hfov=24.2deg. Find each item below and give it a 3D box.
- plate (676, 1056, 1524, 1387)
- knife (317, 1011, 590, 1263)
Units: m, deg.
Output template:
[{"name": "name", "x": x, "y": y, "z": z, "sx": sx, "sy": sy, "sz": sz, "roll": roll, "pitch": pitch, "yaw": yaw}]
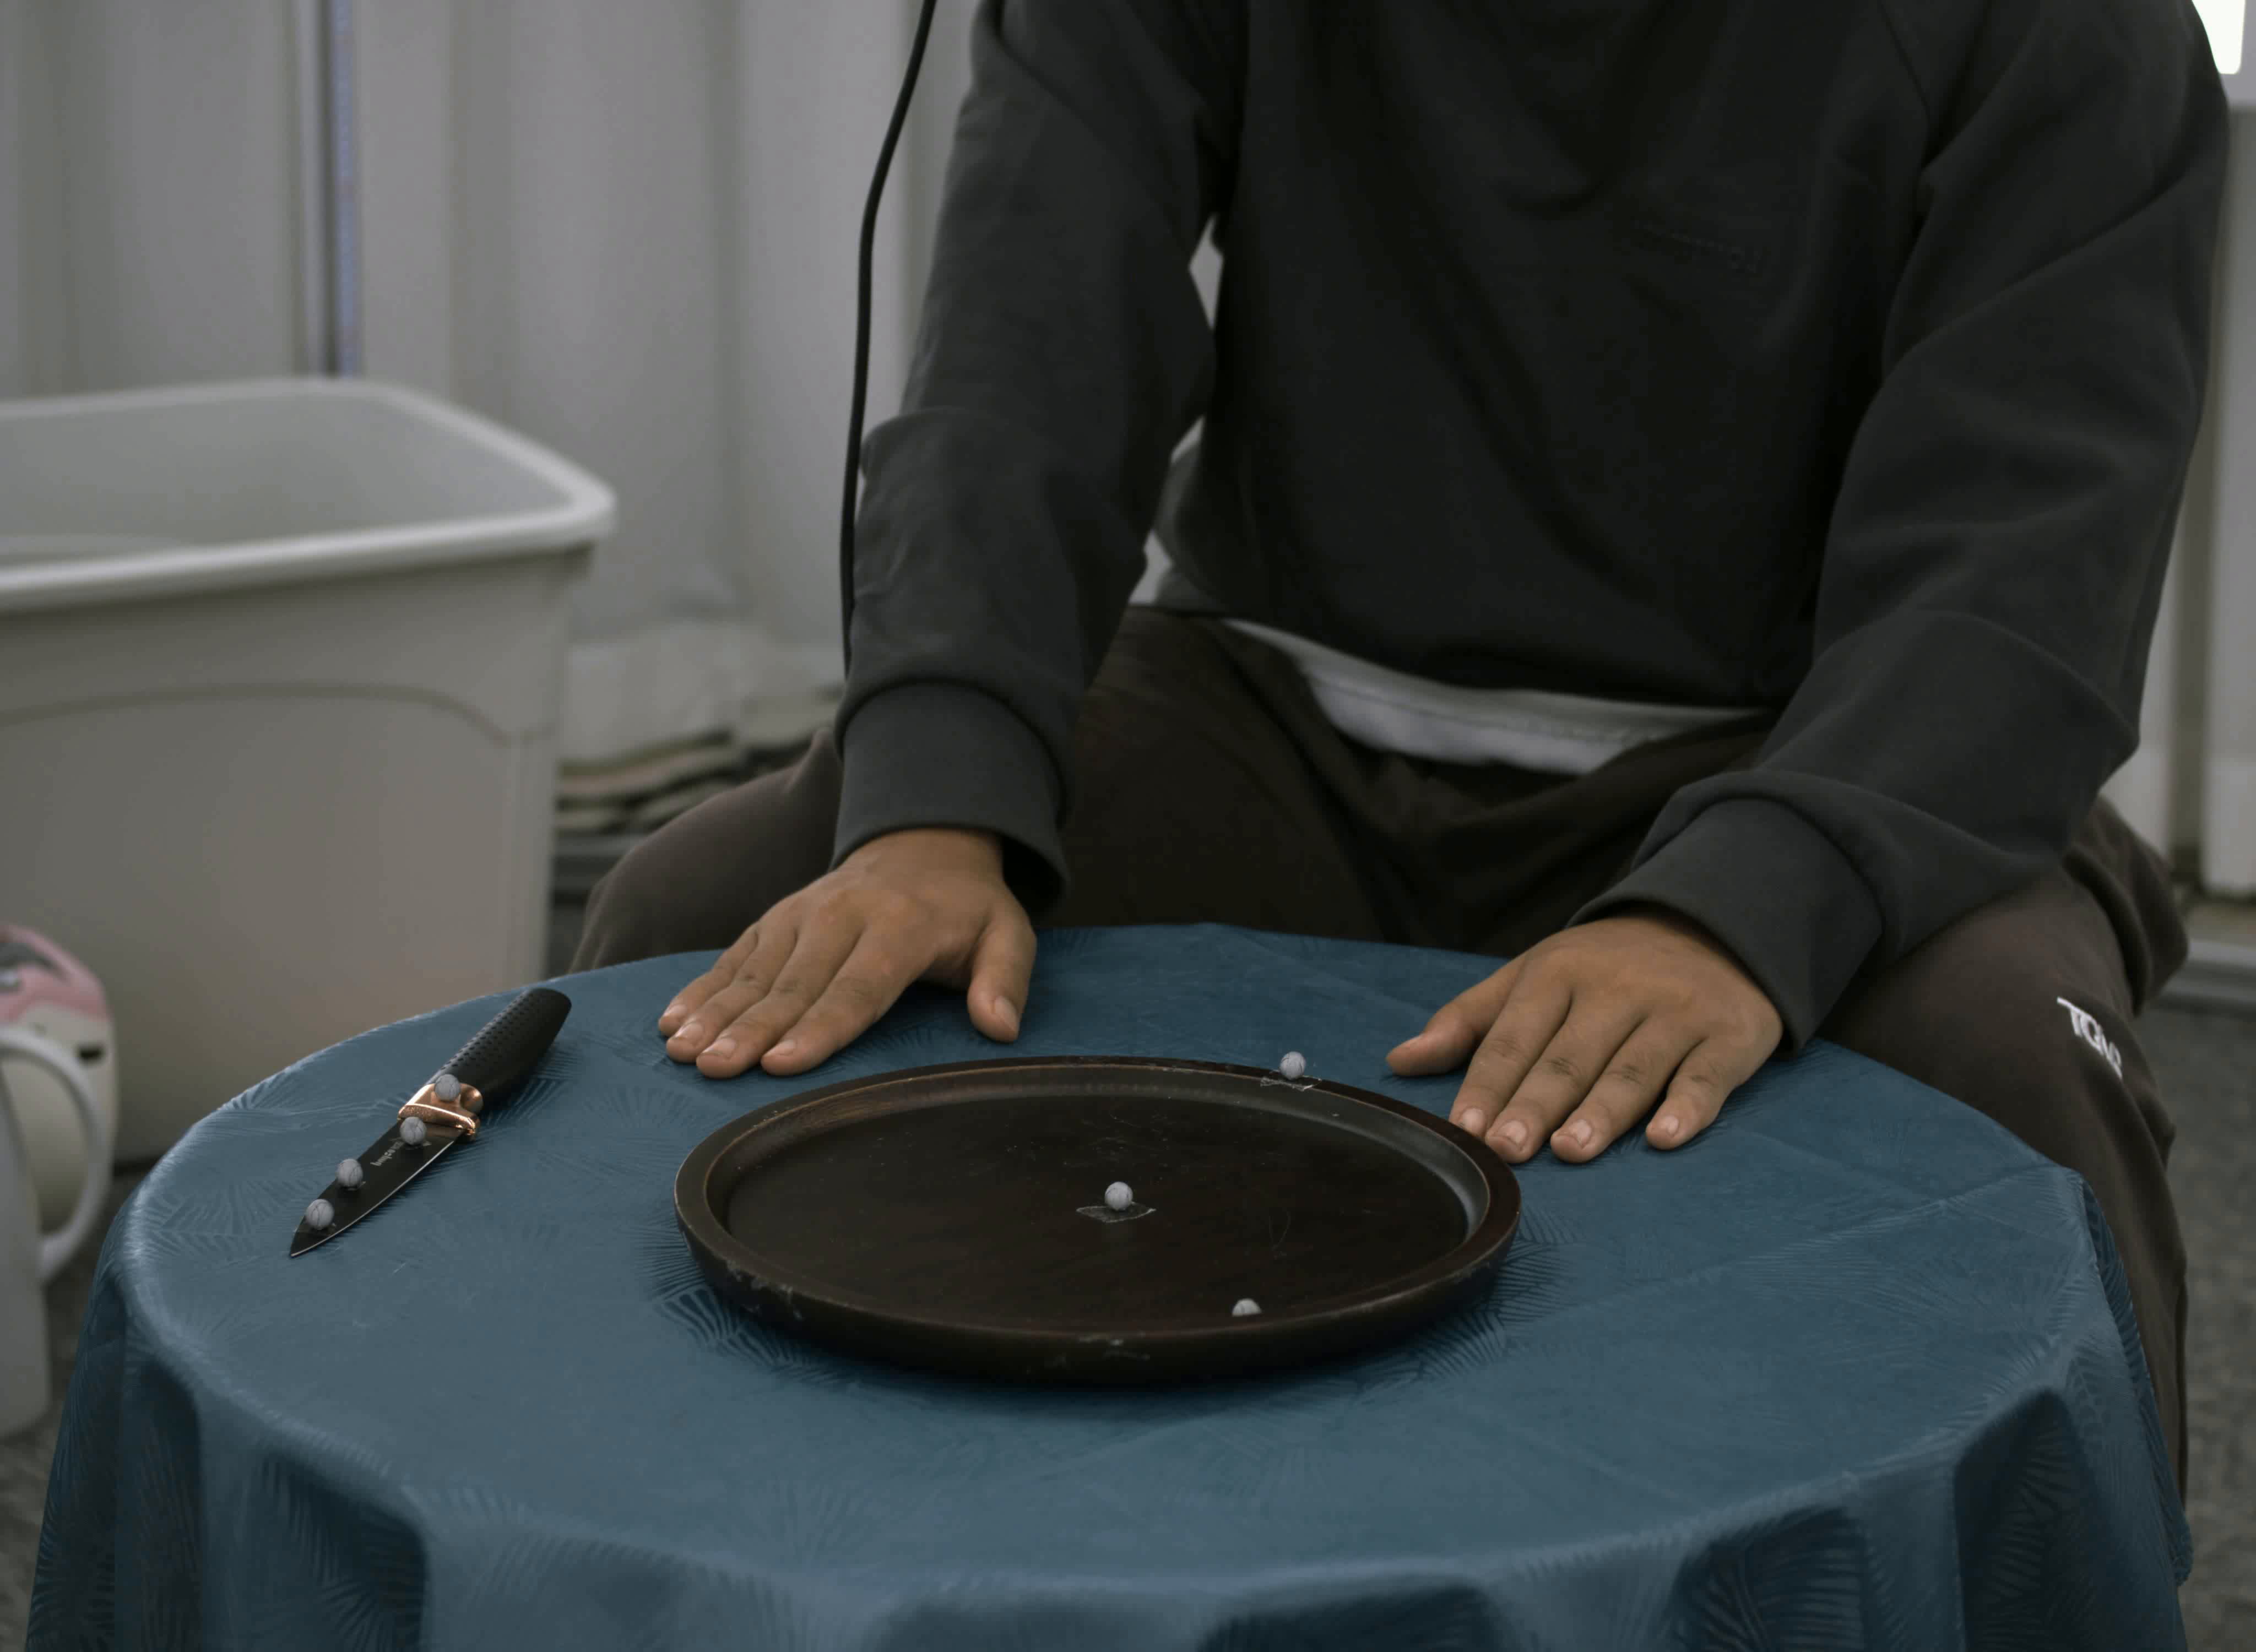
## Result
[{"name": "plate", "x": -0.008, "y": 0.116, "z": 1.571, "sx": 0.254, "sy": 0.029, "sz": 0.253, "roll": 0, "pitch": 14, "yaw": 0}, {"name": "knife", "x": -0.214, "y": 0.097, "z": 1.655, "sx": 0.026, "sy": 0.017, "sz": 0.225, "roll": 9, "pitch": 18, "yaw": 13}]
